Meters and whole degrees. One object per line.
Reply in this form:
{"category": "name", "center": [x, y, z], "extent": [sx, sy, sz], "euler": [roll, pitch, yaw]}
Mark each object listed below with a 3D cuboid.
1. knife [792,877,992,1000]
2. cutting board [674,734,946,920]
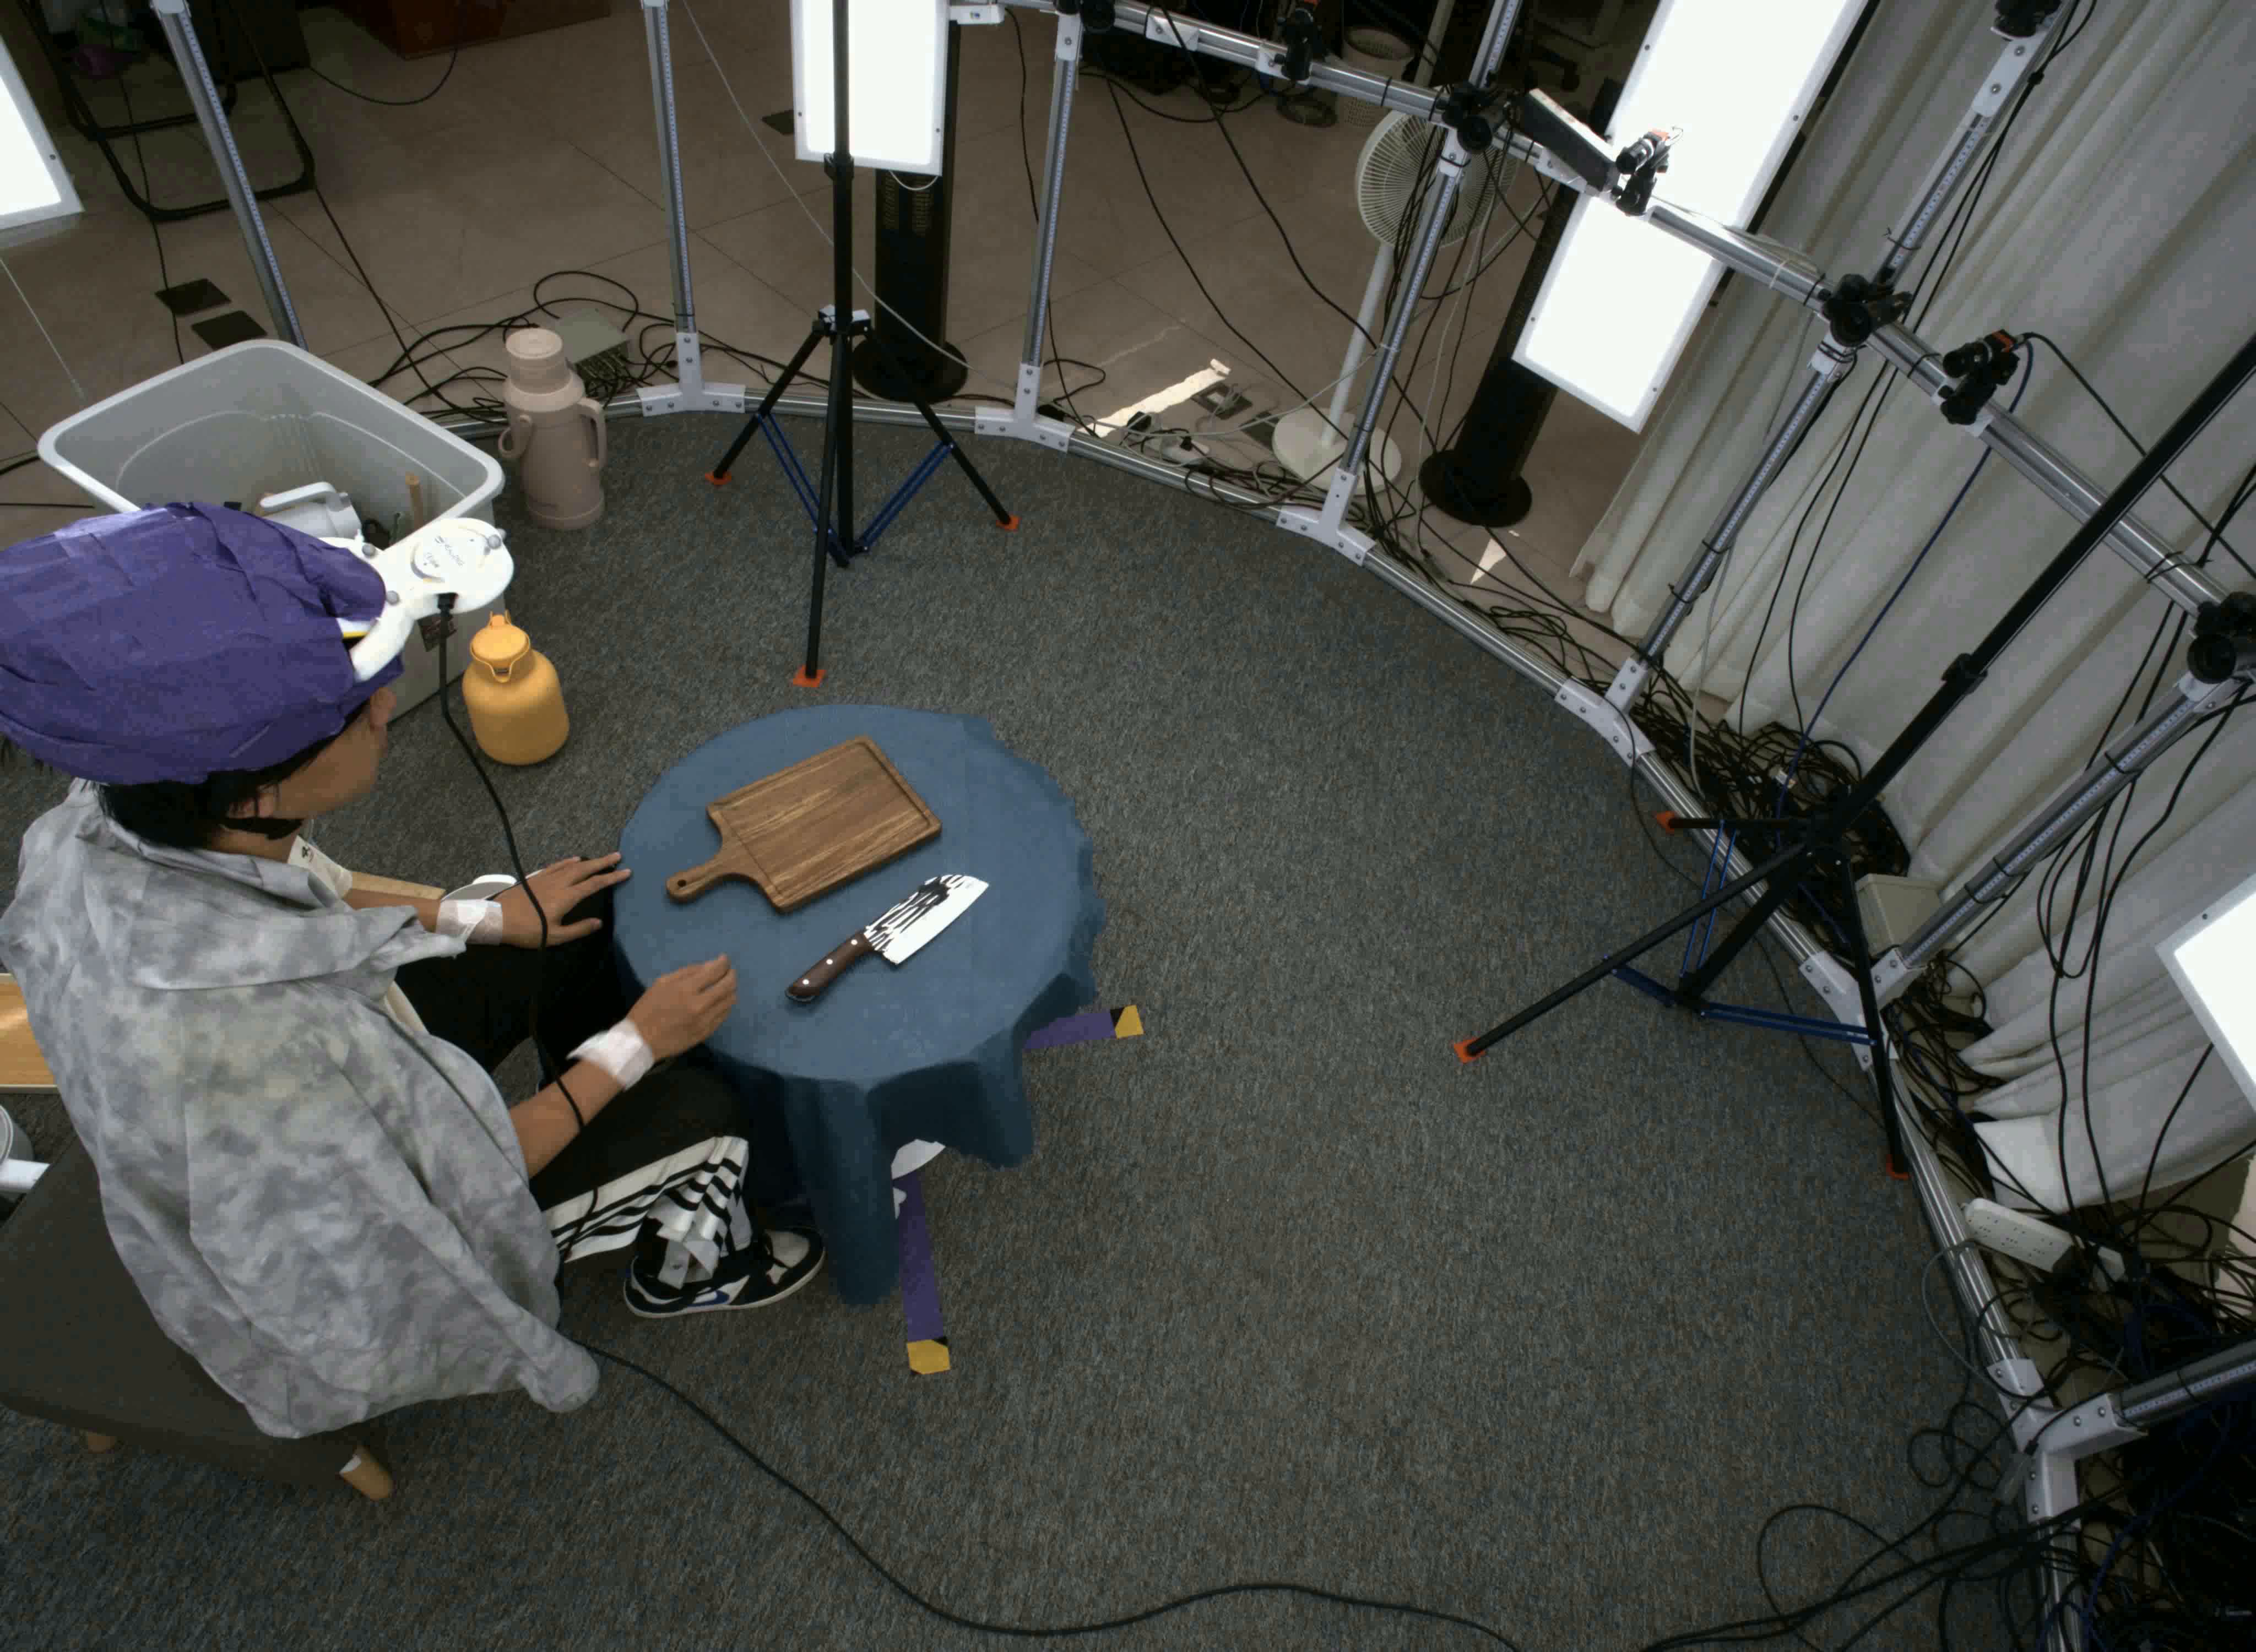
{"category": "knife", "center": [-0.291, 0.140, 1.643], "extent": [0.067, 0.024, 0.300], "euler": [41, 52, 15]}
{"category": "cutting board", "center": [-0.435, 0.015, 1.703], "extent": [0.353, 0.023, 0.196], "euler": [-30, 67, -29]}
